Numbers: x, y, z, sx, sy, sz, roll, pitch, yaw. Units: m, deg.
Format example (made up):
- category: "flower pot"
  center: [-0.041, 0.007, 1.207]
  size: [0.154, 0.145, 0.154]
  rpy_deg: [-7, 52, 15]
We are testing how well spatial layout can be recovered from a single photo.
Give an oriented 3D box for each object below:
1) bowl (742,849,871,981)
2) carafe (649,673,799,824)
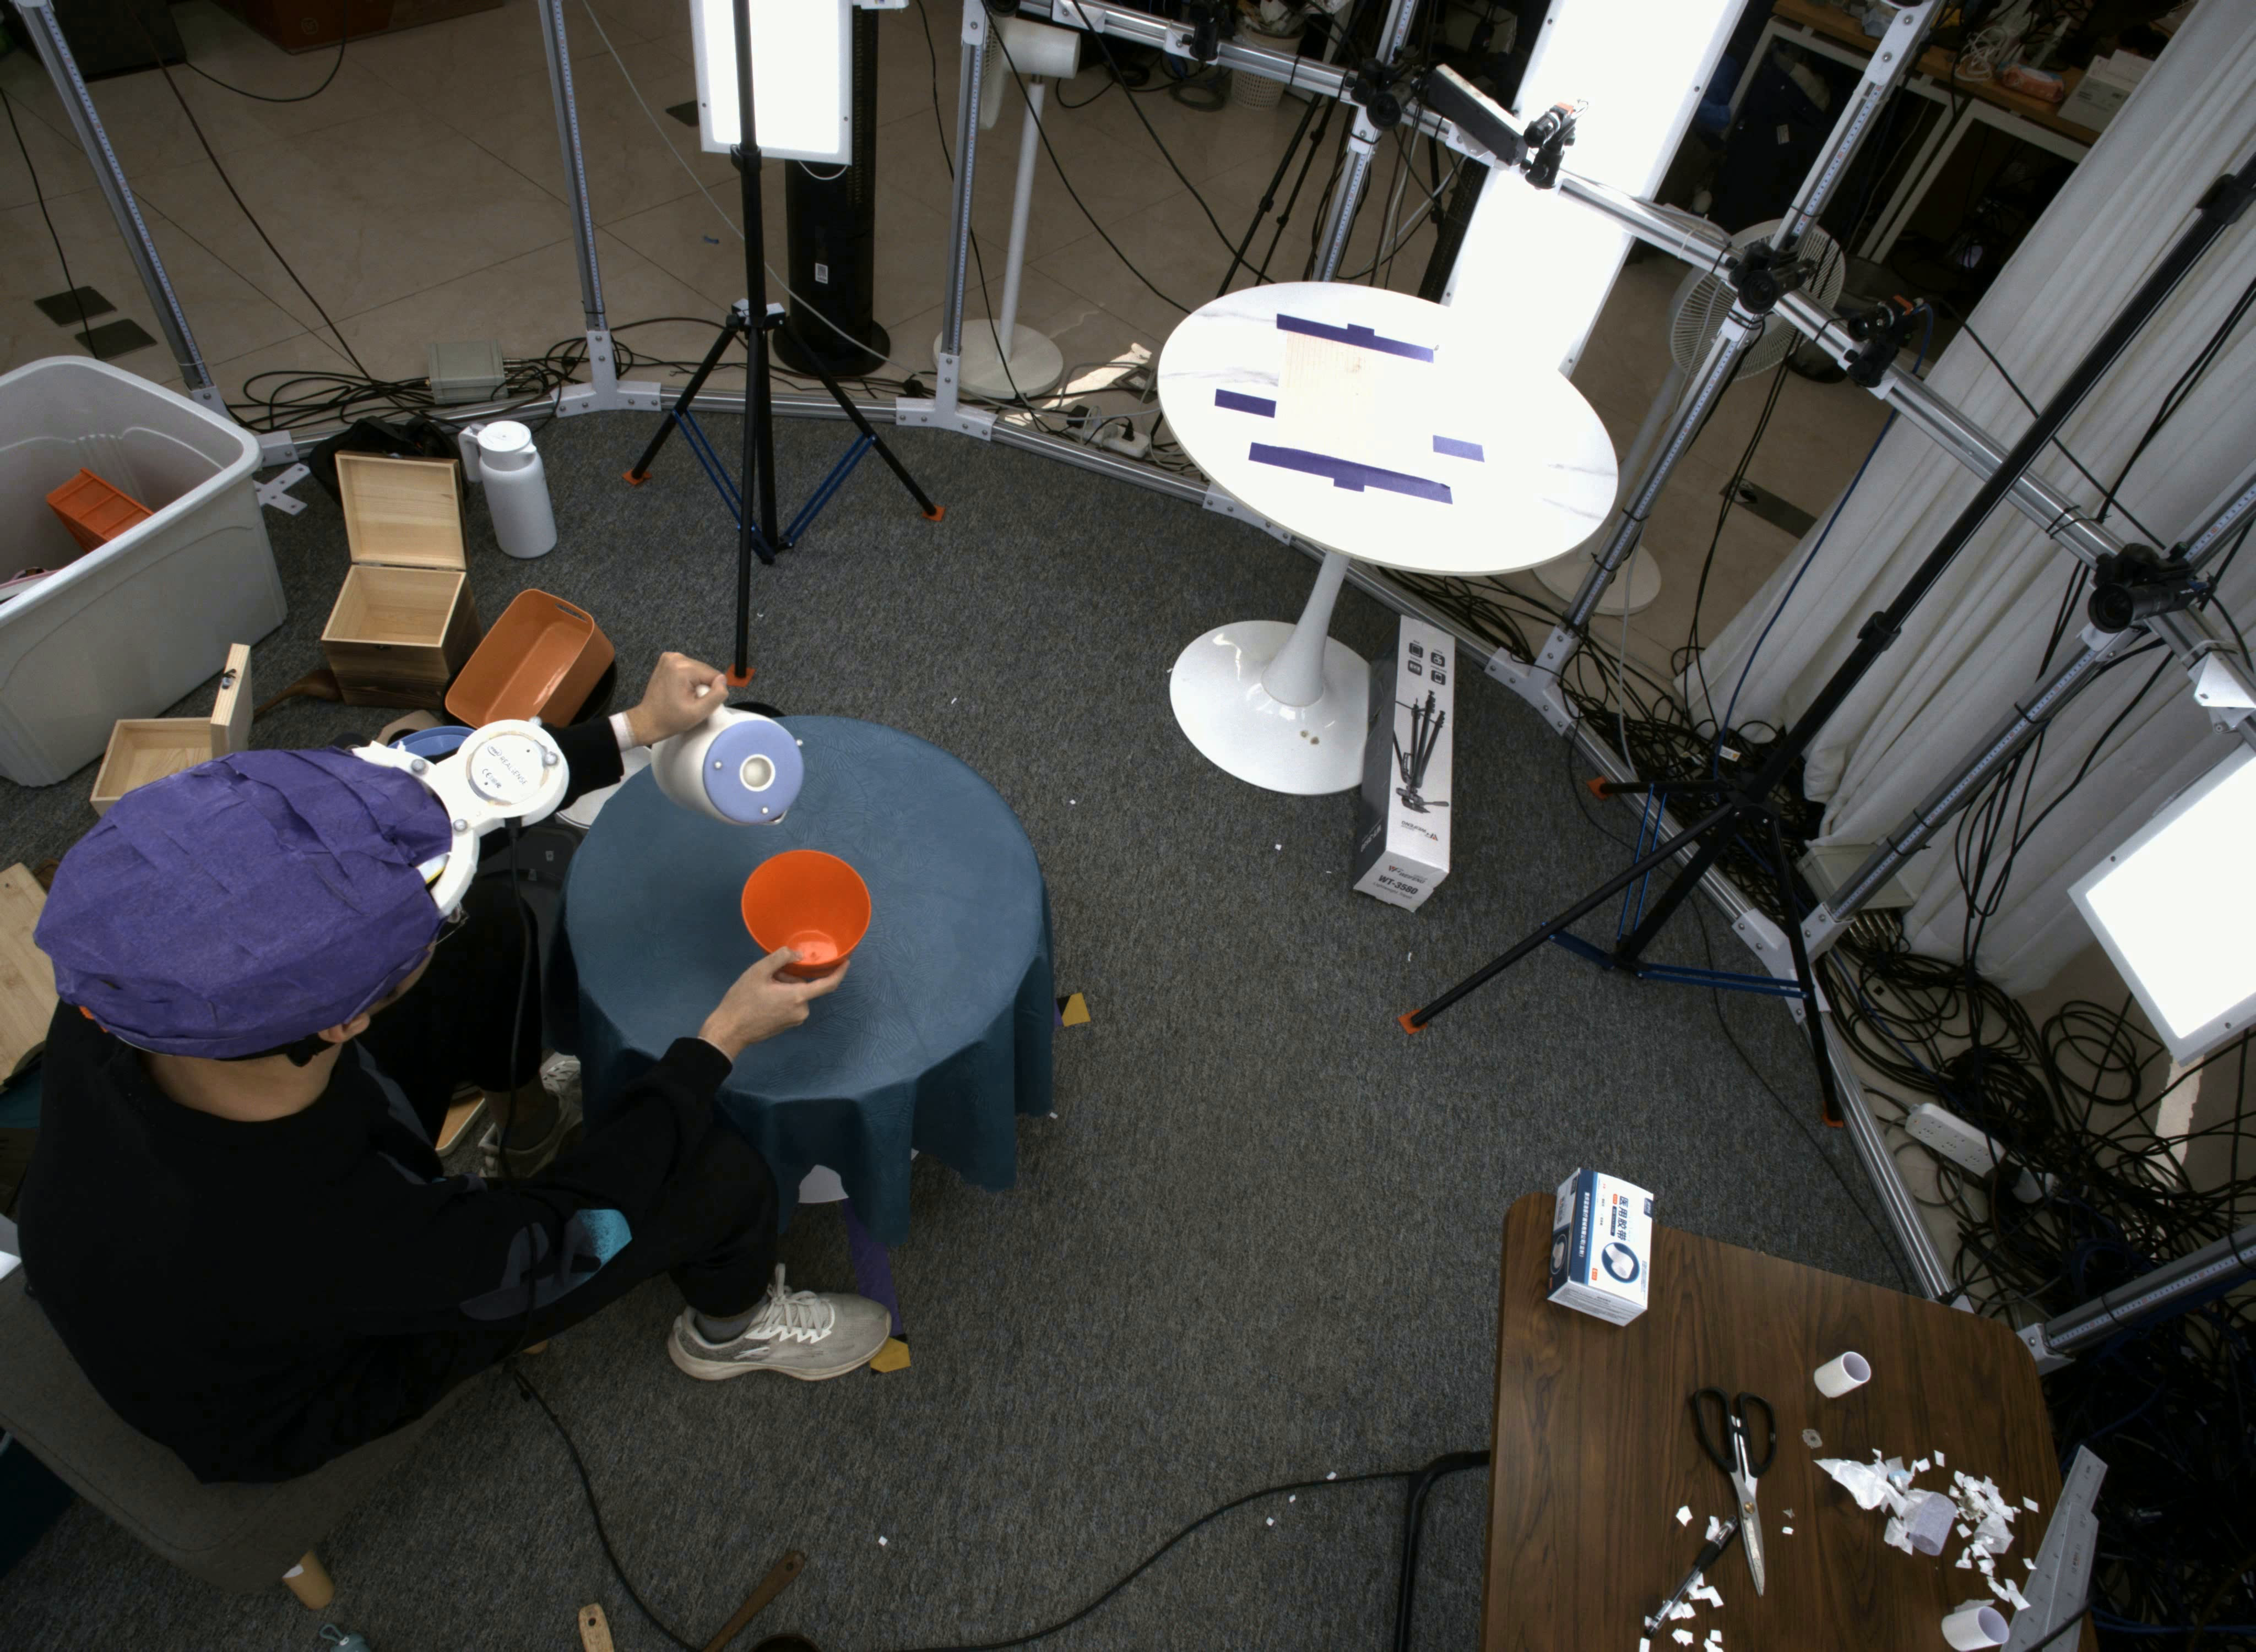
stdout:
- category: "bowl"
  center: [-0.378, 0.115, 1.533]
  size: [0.148, 0.107, 0.145]
  rpy_deg: [9, 49, -9]
- category: "carafe"
  center: [-0.484, -0.095, 1.498]
  size: [0.132, 0.197, 0.176]
  rpy_deg: [-41, 28, -28]
